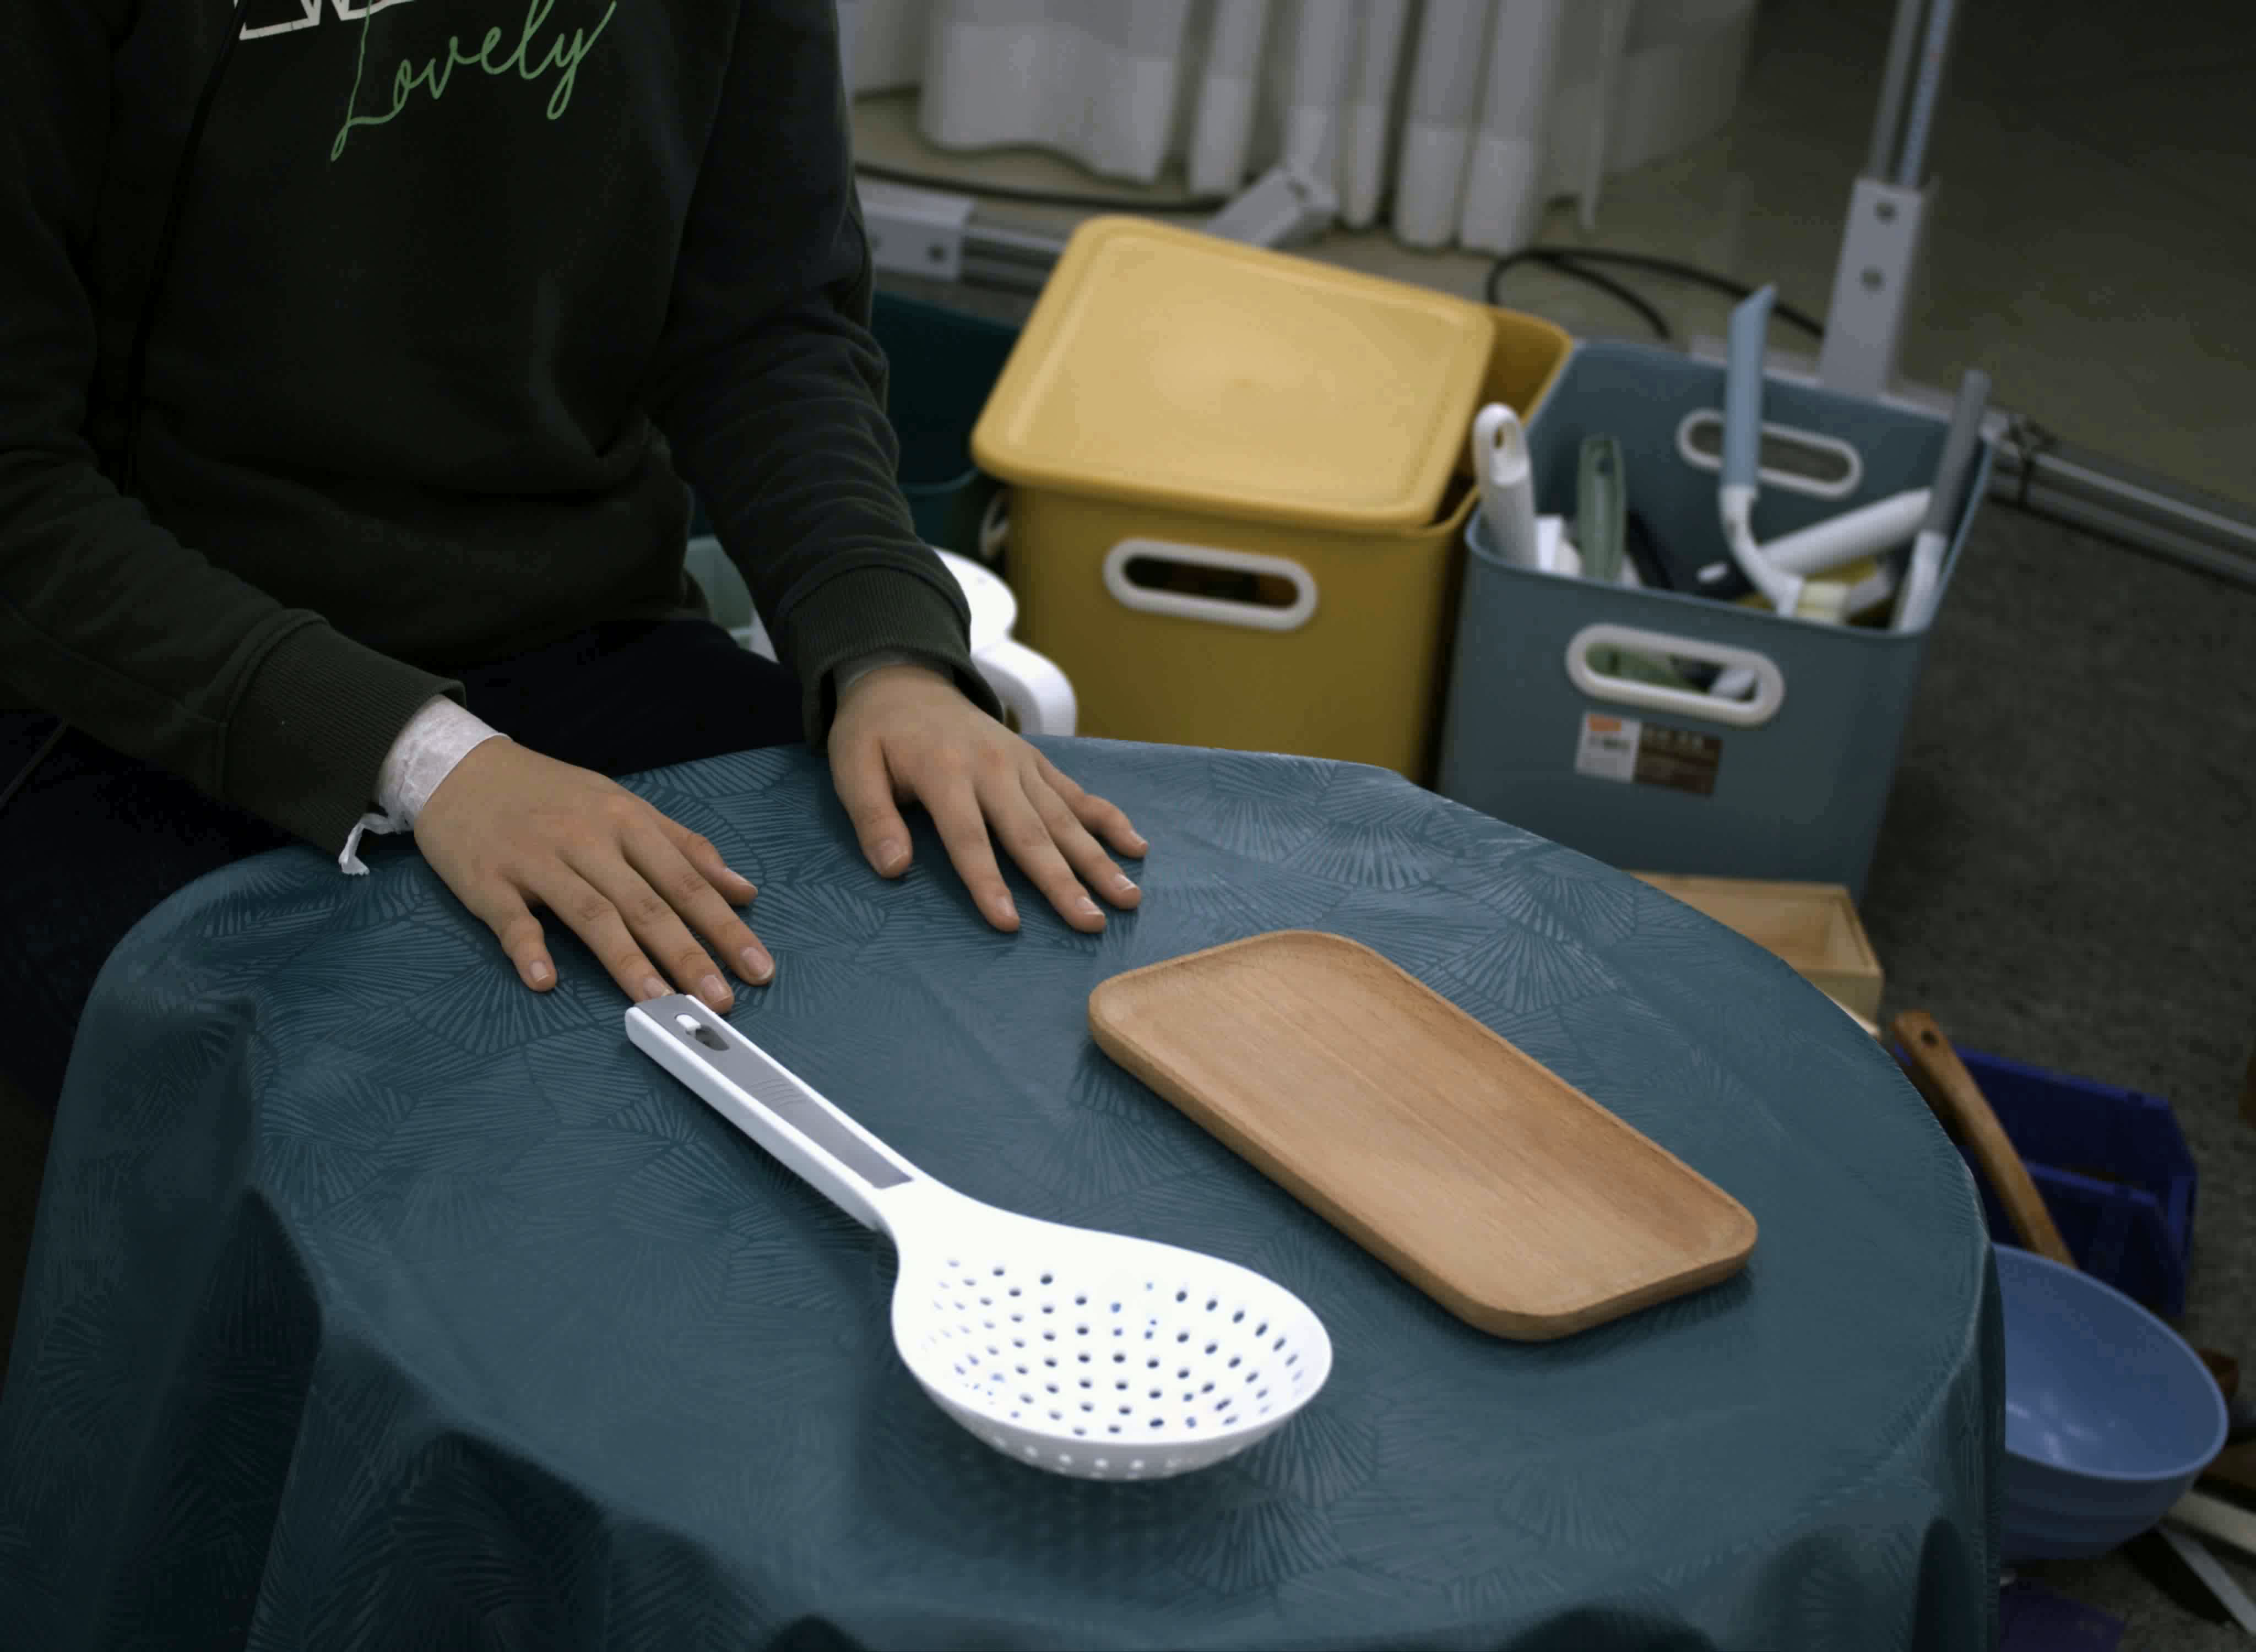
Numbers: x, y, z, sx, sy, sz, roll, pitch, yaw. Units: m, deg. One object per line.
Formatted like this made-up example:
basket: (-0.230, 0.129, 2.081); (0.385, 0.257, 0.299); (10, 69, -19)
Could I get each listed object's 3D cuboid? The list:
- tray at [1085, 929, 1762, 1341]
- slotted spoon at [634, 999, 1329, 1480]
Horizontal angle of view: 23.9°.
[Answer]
tray: (0.099, 0.104, 1.843); (0.130, 0.023, 0.253); (-12, 31, -36)
slotted spoon: (-0.066, 0.128, 1.727); (0.135, 0.045, 0.353); (-9, 30, -33)
